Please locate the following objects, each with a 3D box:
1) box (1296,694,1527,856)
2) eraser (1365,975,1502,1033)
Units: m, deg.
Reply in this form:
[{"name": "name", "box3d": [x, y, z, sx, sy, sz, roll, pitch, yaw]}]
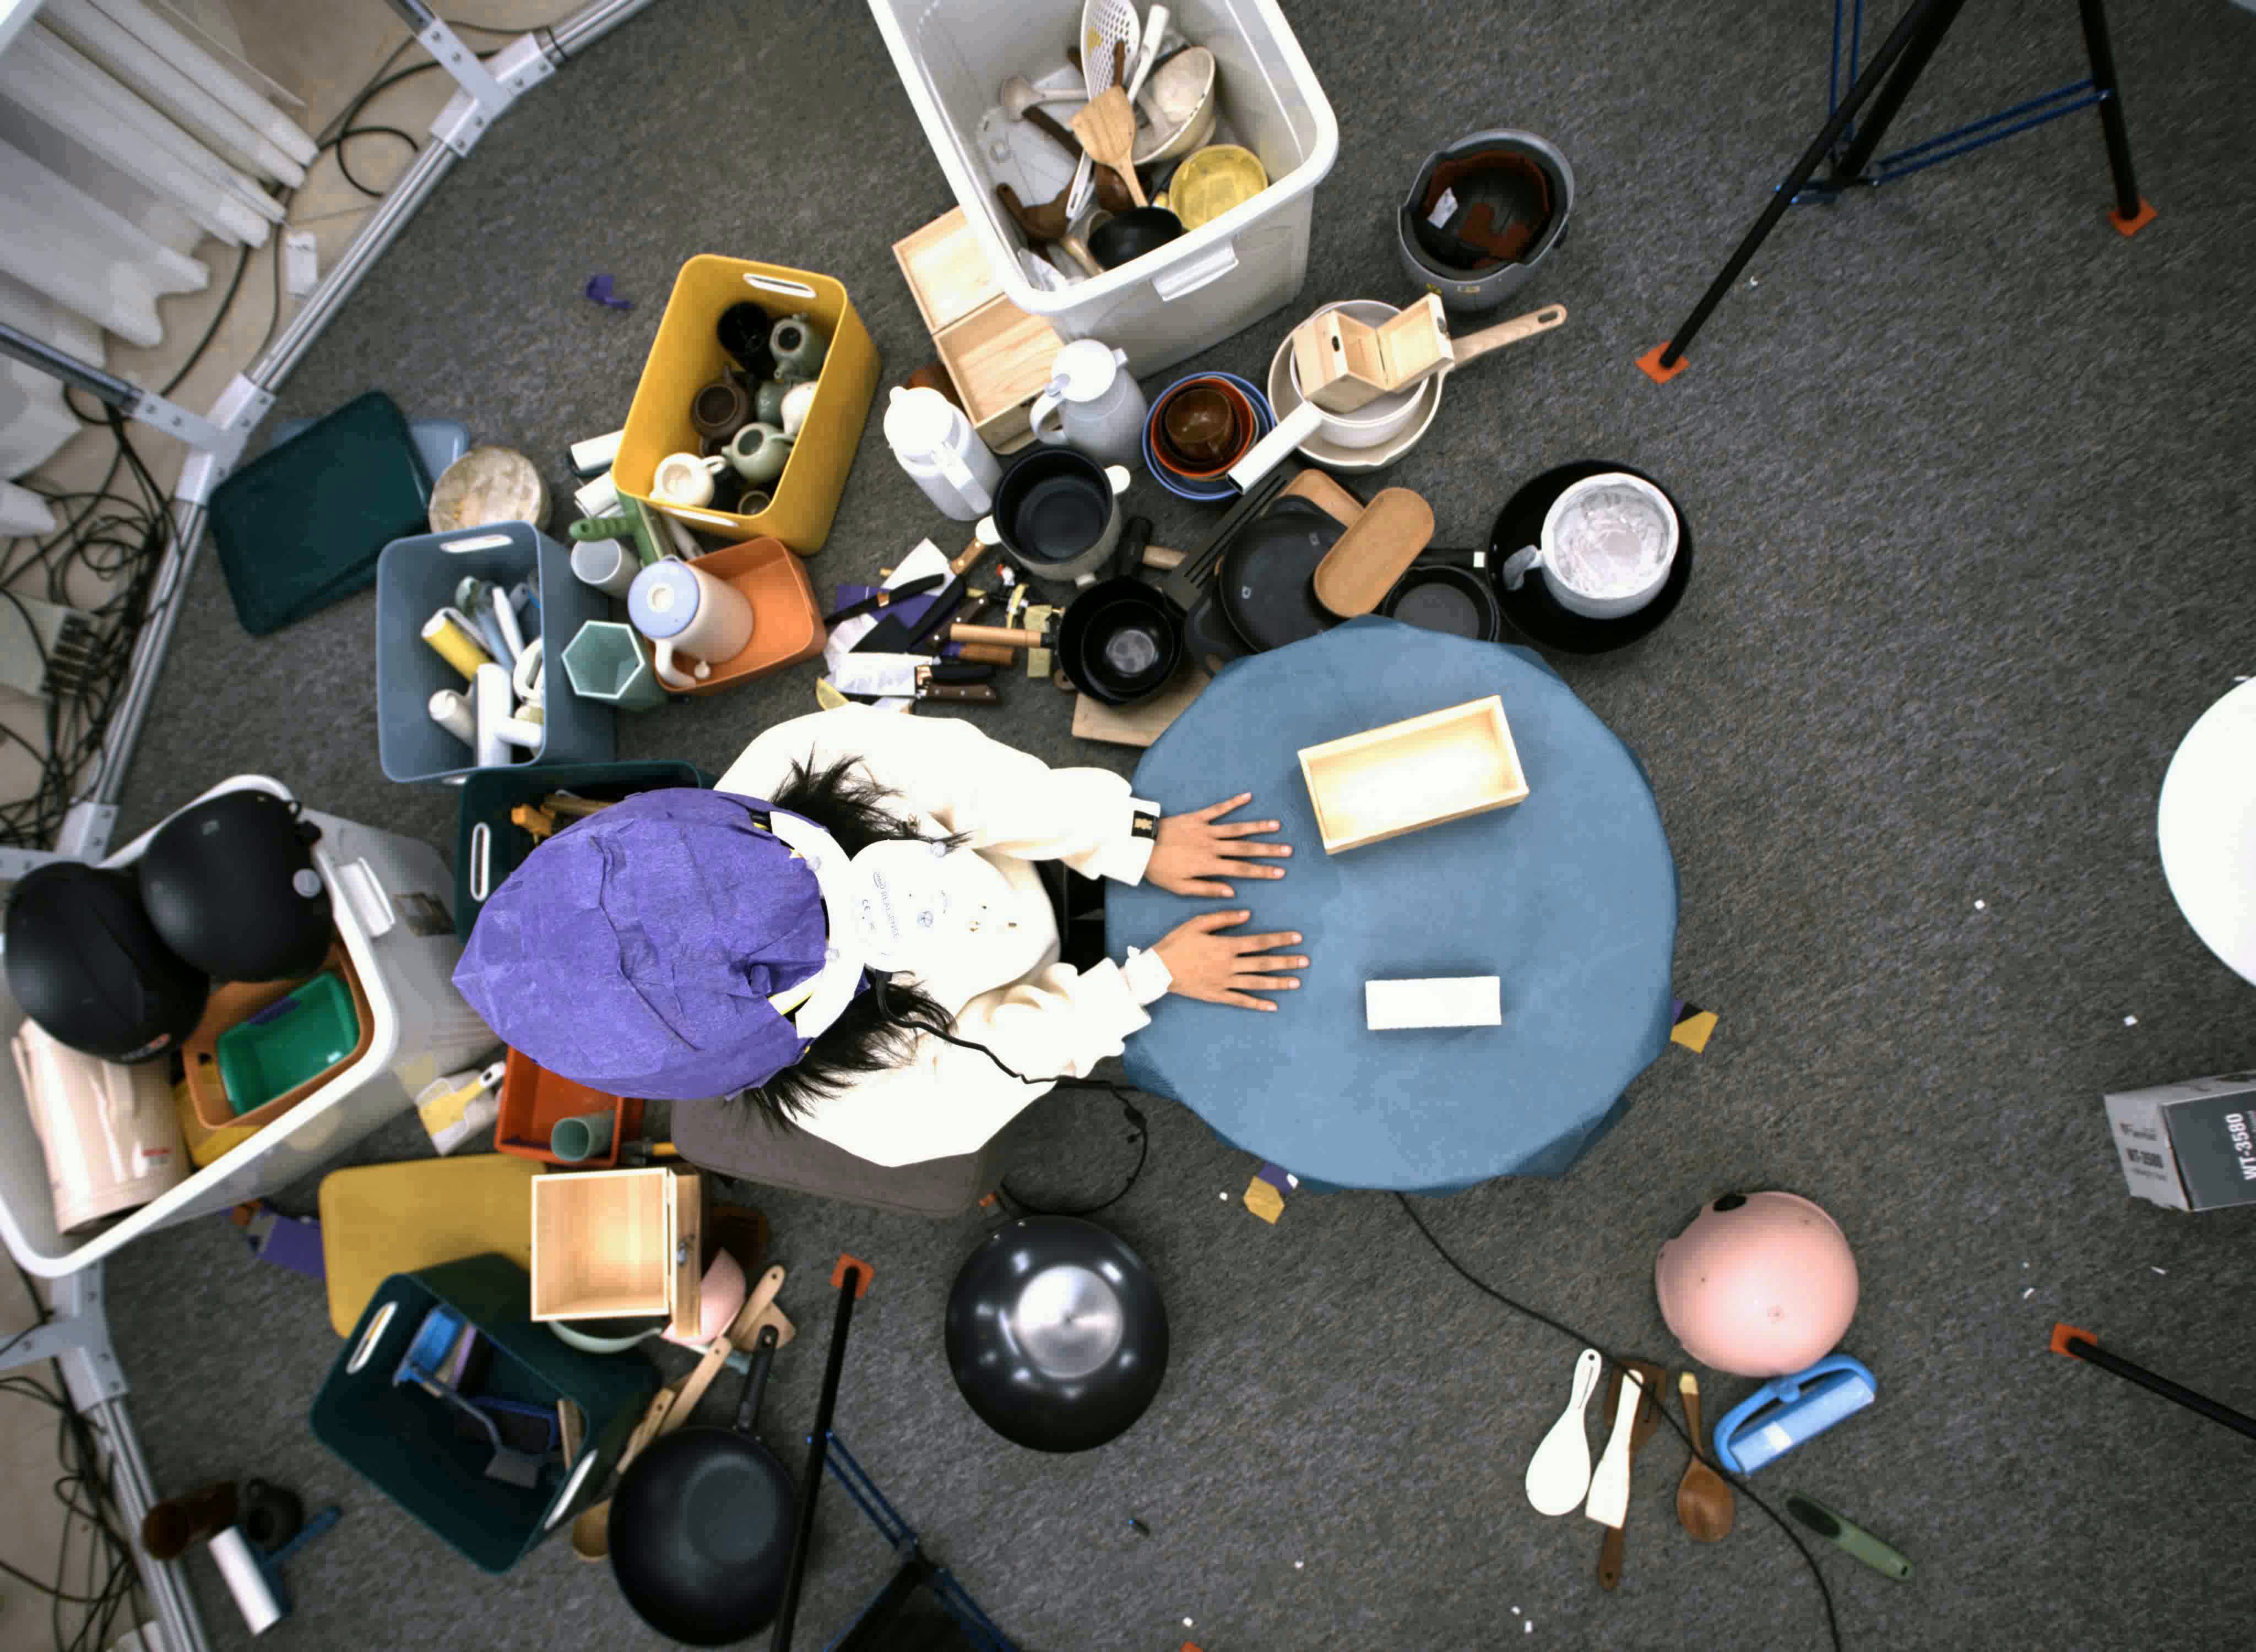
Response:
[{"name": "box", "box3d": [0.291, -0.052, 1.423, 0.212, 0.080, 0.107, -17, 83, 8]}, {"name": "eraser", "box3d": [0.314, 0.181, 1.422, 0.135, 0.046, 0.049, -5, 86, 8]}]
